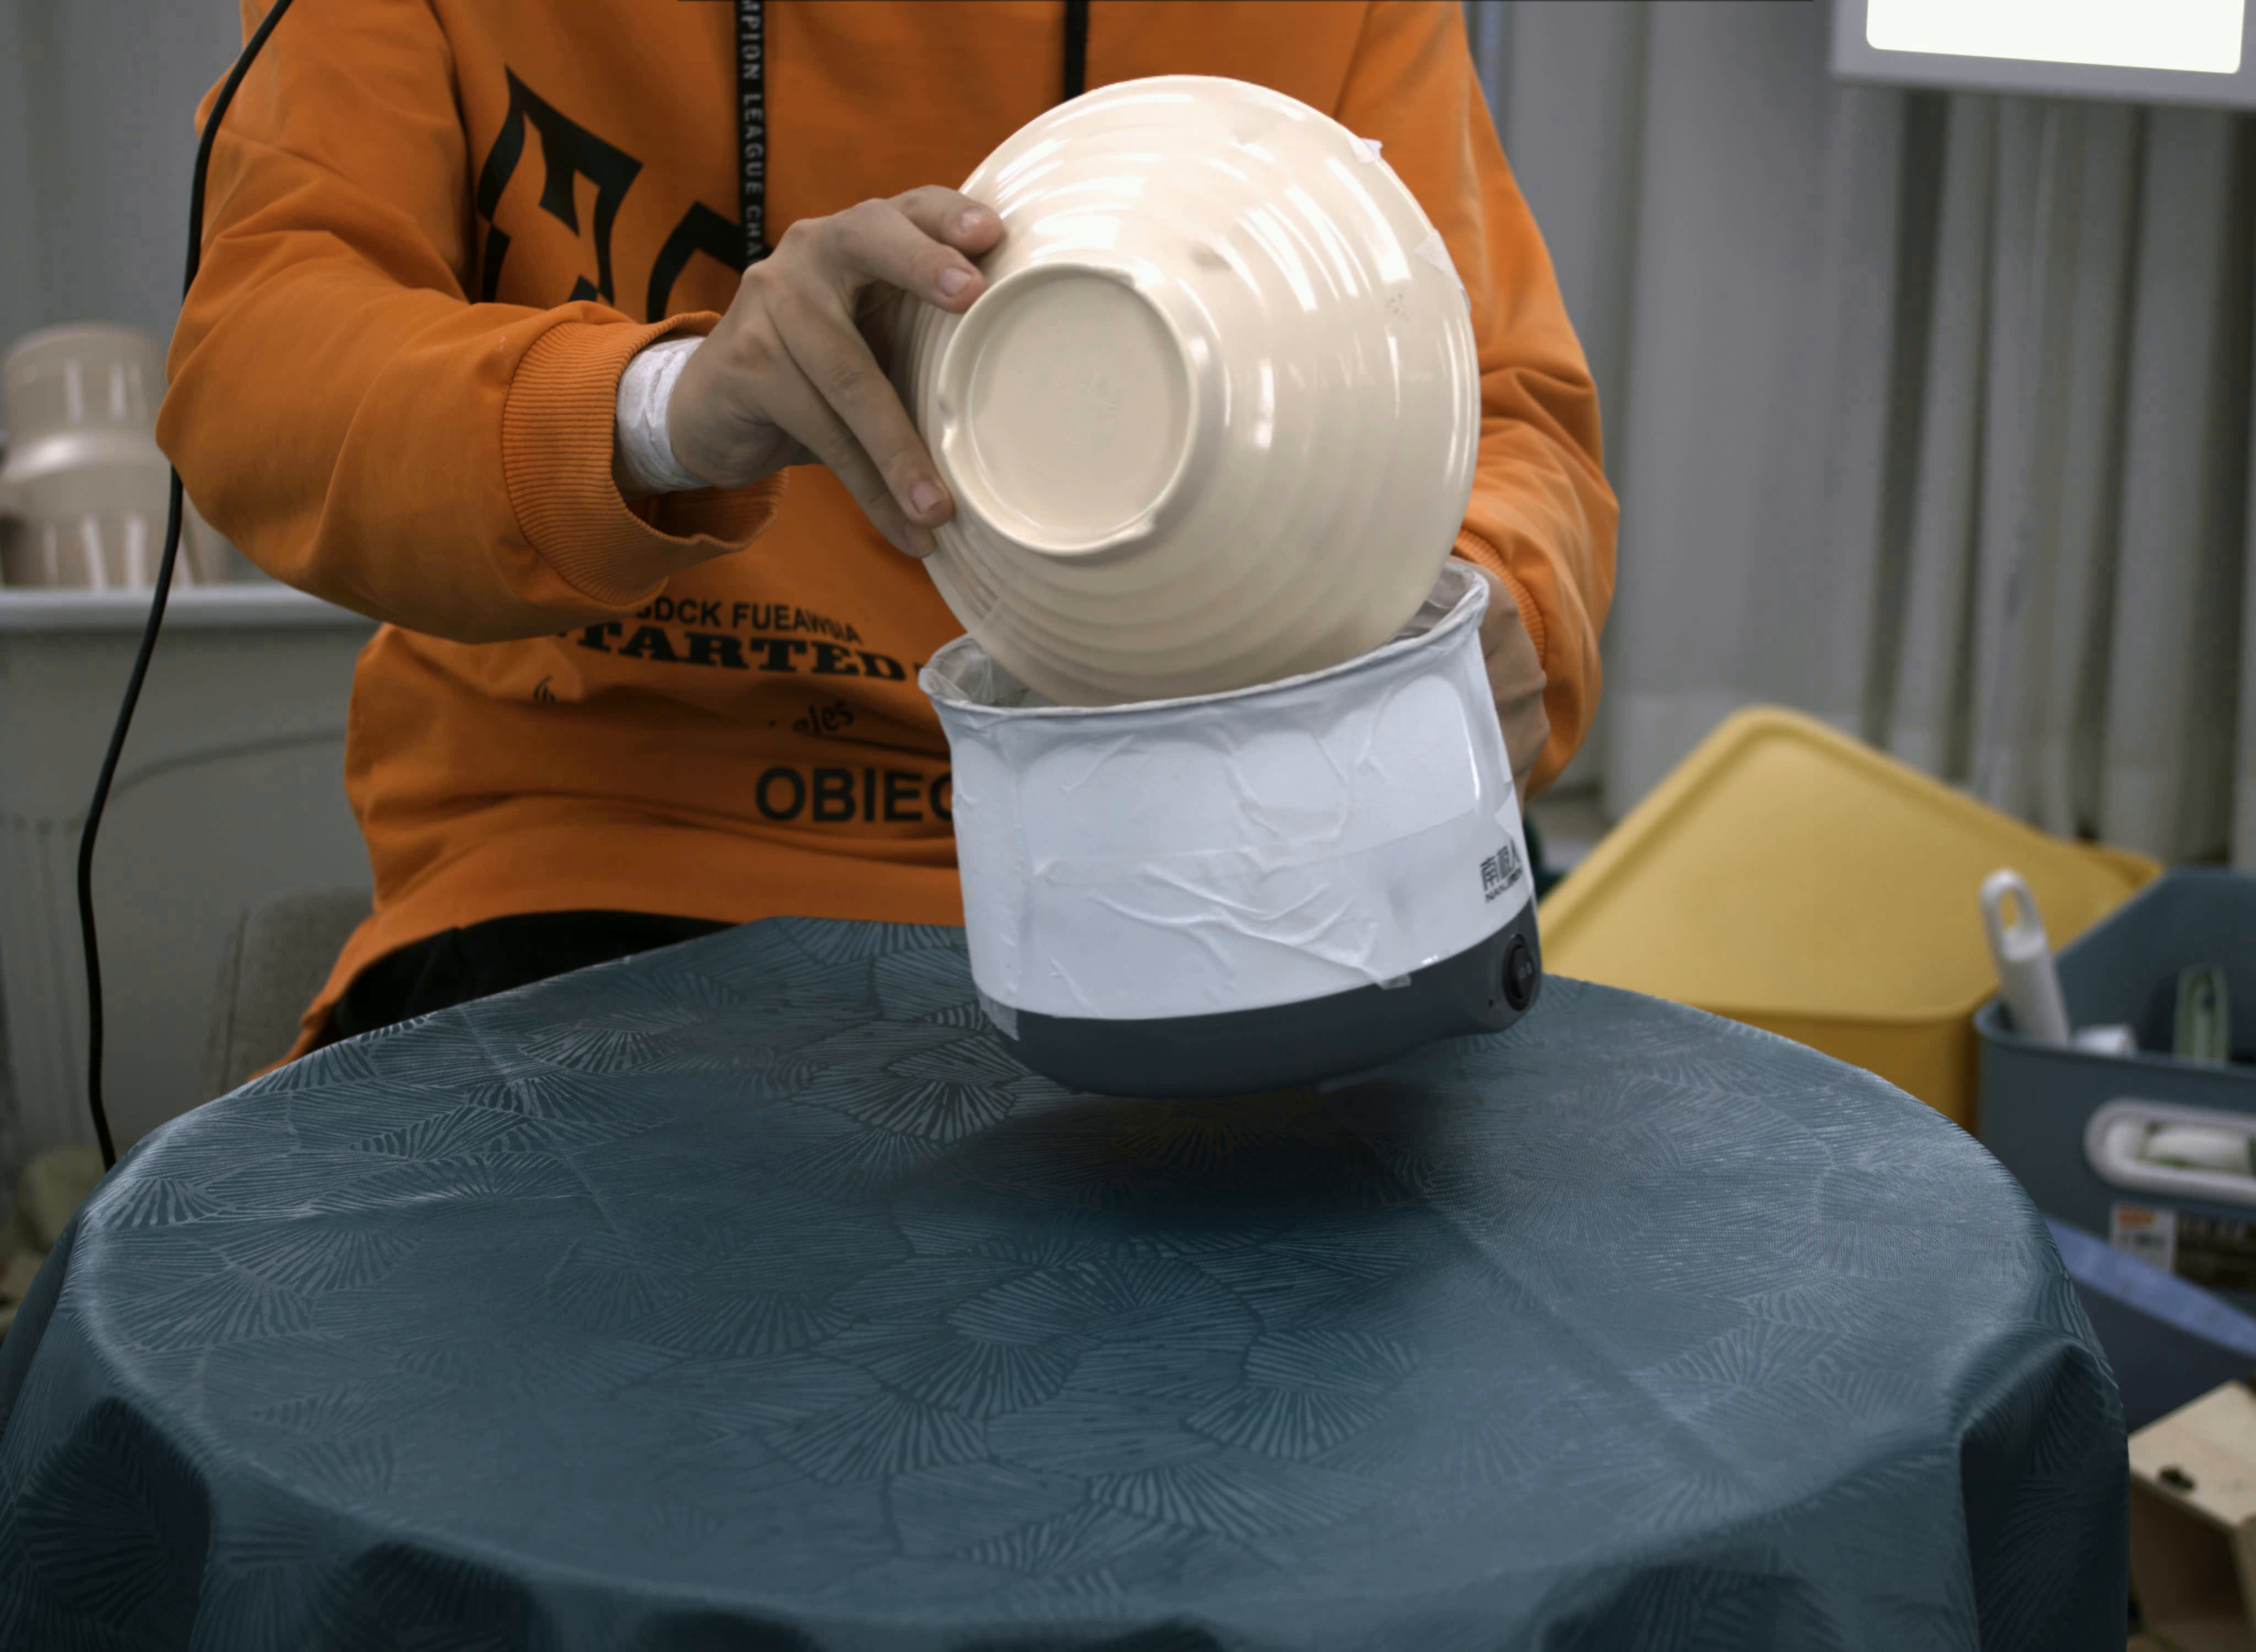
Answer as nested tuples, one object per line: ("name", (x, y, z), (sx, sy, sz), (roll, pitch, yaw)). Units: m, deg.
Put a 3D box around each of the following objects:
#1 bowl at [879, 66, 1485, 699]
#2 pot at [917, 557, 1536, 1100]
("bowl", (0.000, -0.128, 1.575), (0.202, 0.205, 0.078), (8, 7, 23))
("pot", (0.043, -0.009, 1.650), (0.177, 0.138, 0.234), (-1, 17, 25))
